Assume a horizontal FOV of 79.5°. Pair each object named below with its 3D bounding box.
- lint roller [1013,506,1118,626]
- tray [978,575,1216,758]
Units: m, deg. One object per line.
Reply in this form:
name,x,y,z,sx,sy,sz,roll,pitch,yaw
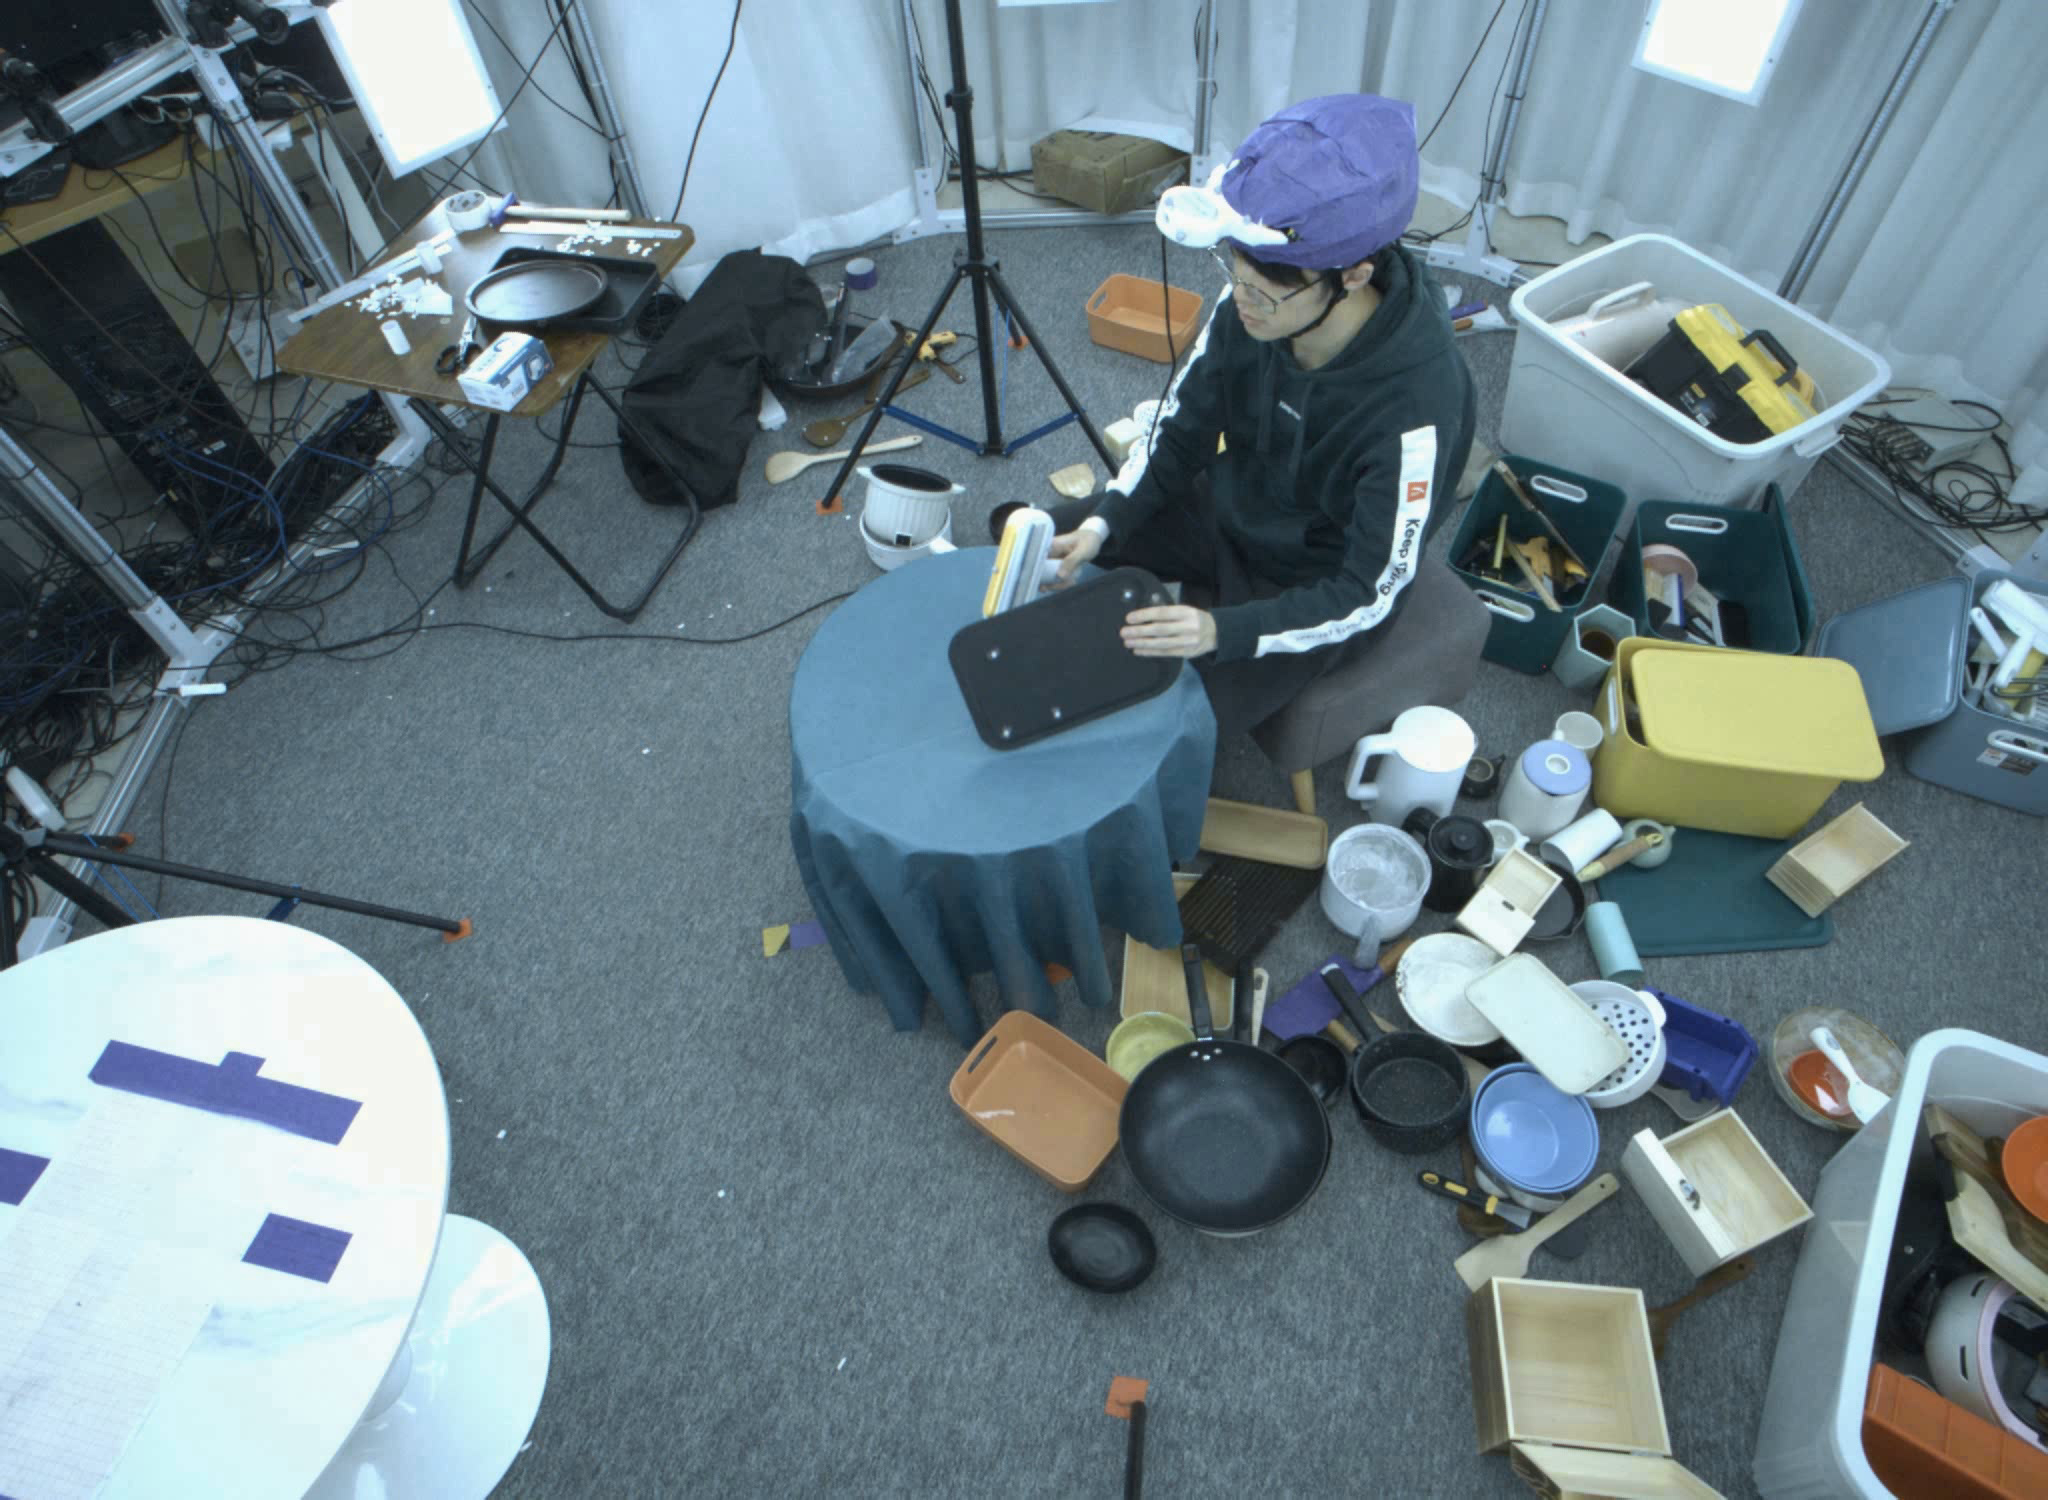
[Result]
lint roller,0.079,-0.265,1.848,0.197,0.193,0.072,3,21,-41
tray,0.109,-0.116,1.712,0.325,0.214,0.009,-20,30,0
